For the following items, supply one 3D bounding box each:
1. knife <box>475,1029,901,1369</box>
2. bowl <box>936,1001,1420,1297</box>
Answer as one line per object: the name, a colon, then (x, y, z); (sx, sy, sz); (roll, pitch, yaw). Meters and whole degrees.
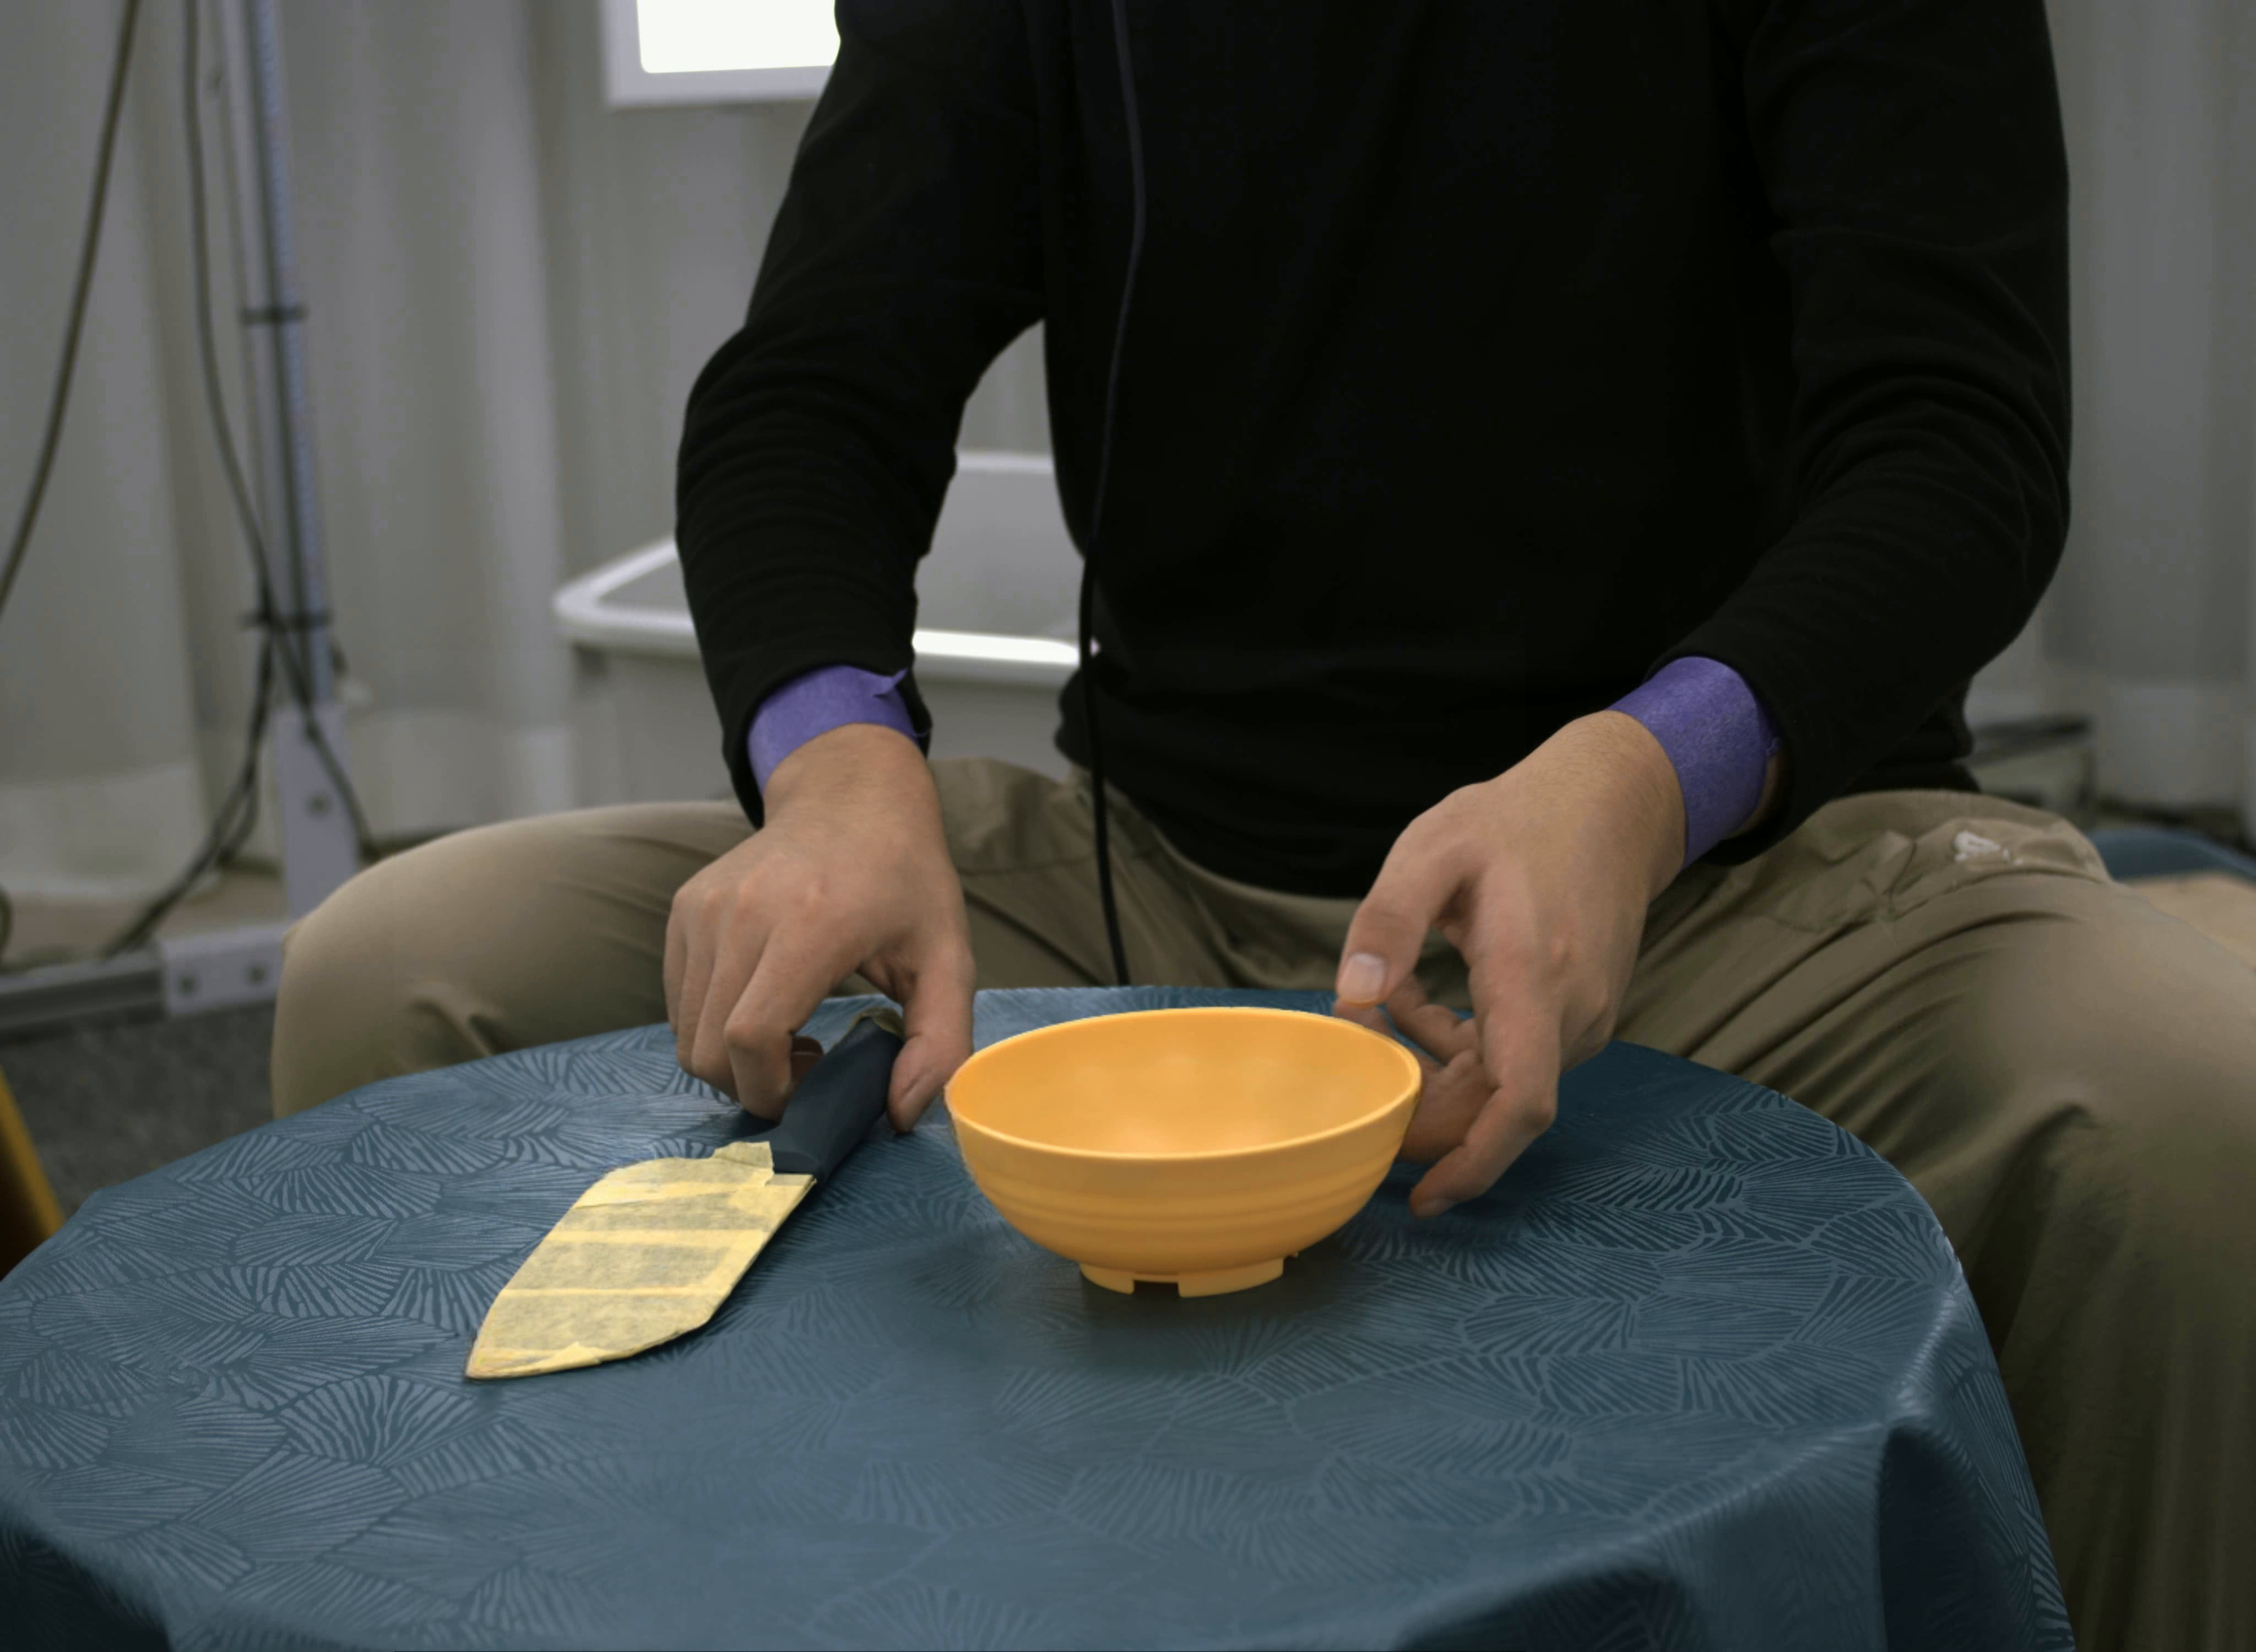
knife: (-0.132, 0.116, 1.708); (0.081, 0.027, 0.291); (3, 17, 16)
bowl: (0.015, 0.103, 1.643); (0.145, 0.060, 0.146); (-1, 16, 0)
